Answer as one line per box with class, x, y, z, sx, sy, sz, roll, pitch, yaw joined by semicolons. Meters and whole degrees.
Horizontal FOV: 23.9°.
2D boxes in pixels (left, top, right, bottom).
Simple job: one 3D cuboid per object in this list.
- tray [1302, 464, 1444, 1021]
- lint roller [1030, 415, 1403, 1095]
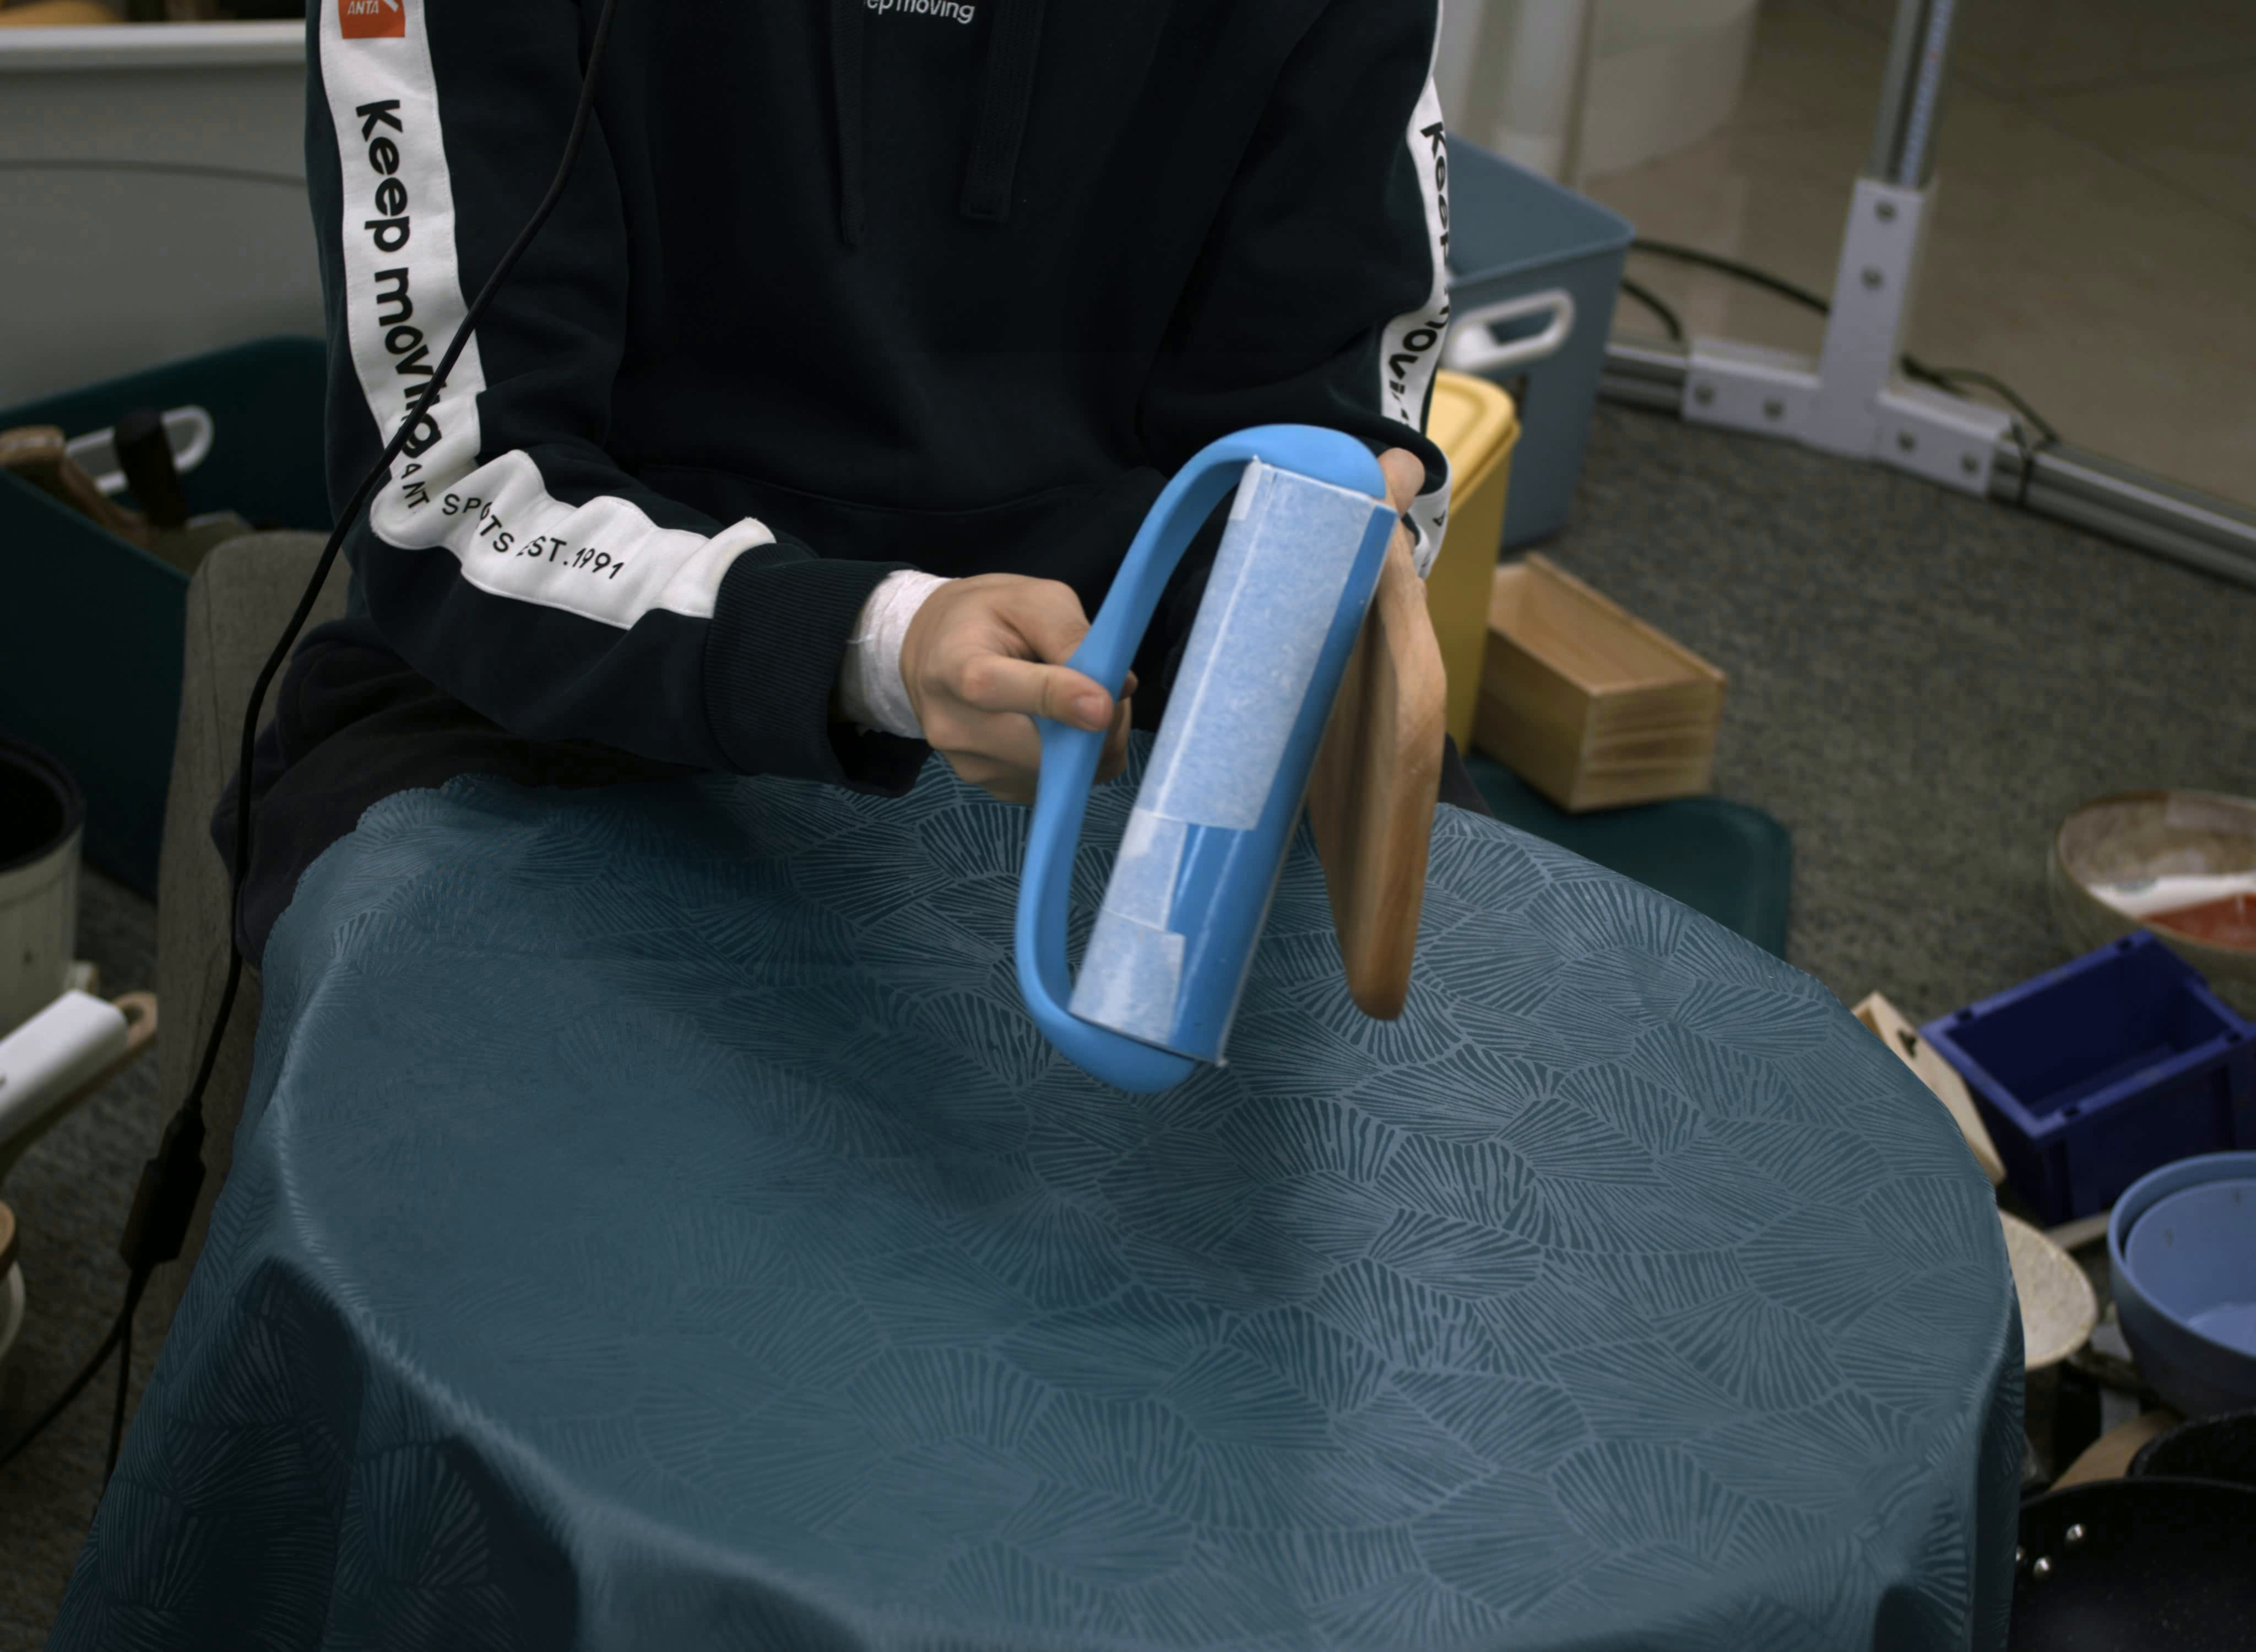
tray;0.079;-0.033;1.806;0.023;0.130;0.252;9;19;-7
lint roller;0.004;-0.031;1.798;0.067;0.229;0.181;15;-1;-35
